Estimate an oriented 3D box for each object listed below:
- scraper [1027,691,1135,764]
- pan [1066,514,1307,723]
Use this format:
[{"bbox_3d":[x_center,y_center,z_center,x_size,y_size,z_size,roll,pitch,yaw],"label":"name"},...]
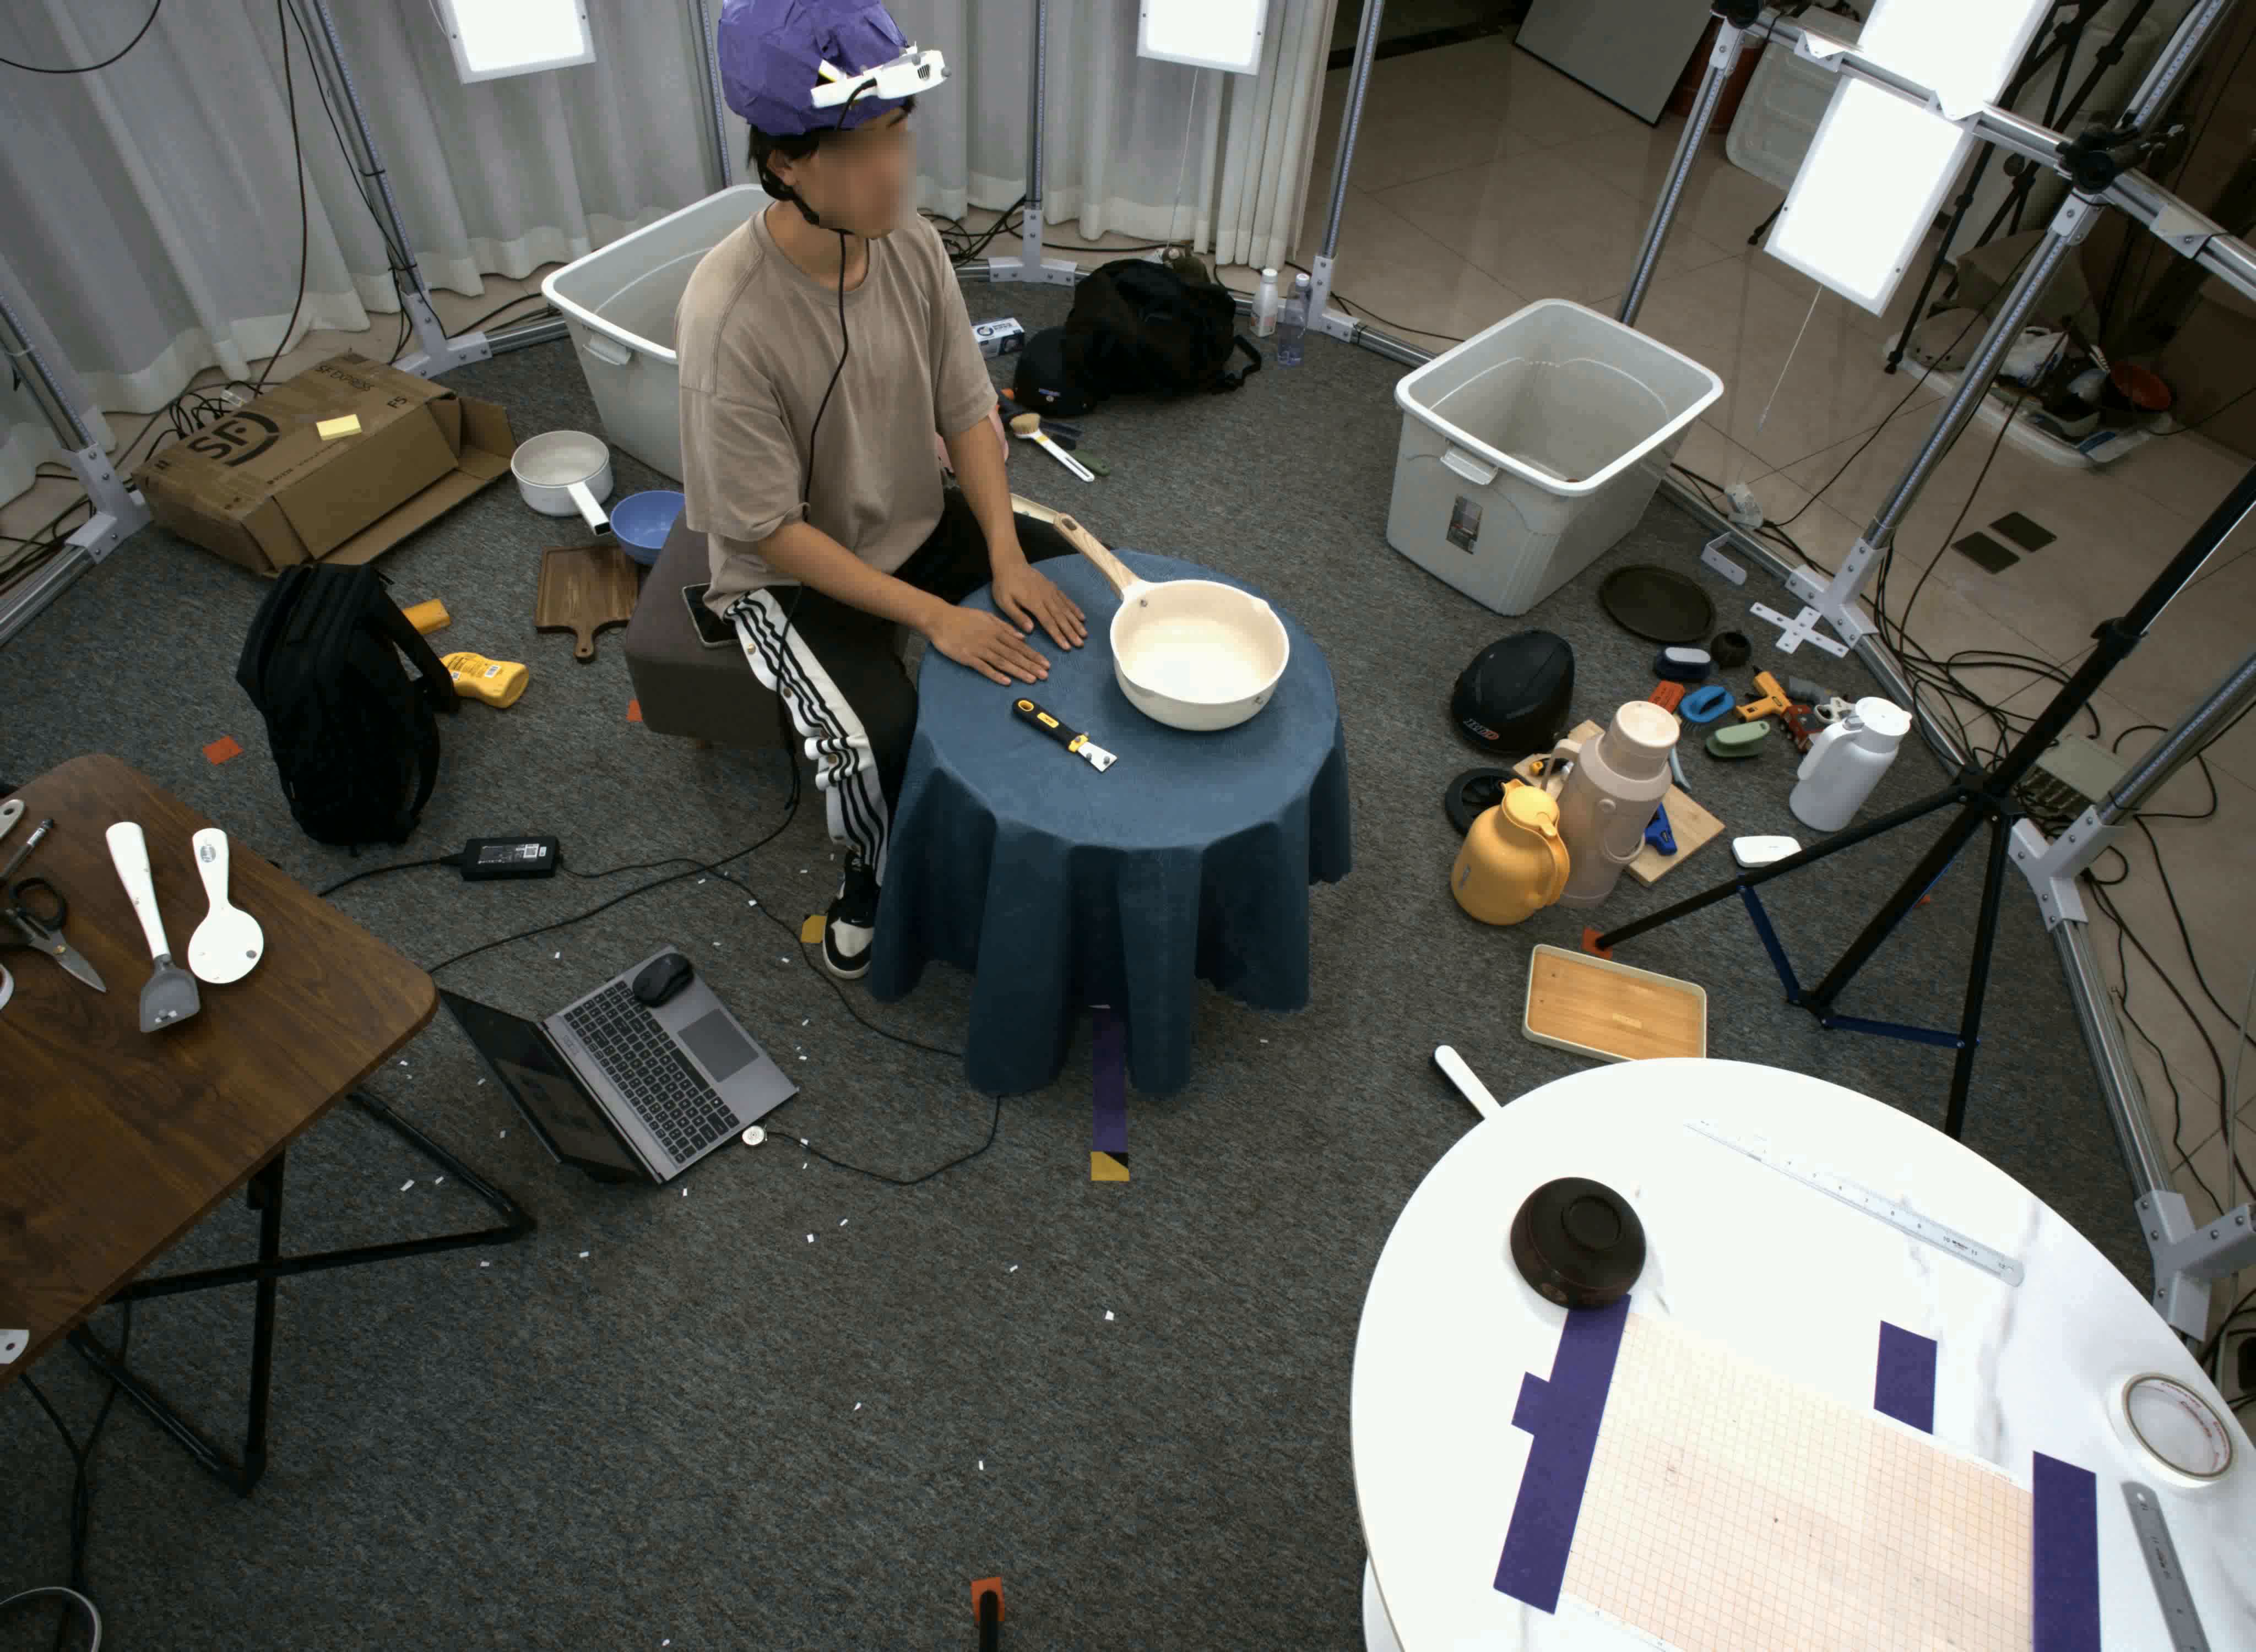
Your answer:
[{"bbox_3d":[-0.068,-0.137,1.754,0.172,0.014,0.039,32,60,19],"label":"scraper"},{"bbox_3d":[0.062,-0.307,1.867,0.265,0.099,0.442,-34,59,-27],"label":"pan"}]
